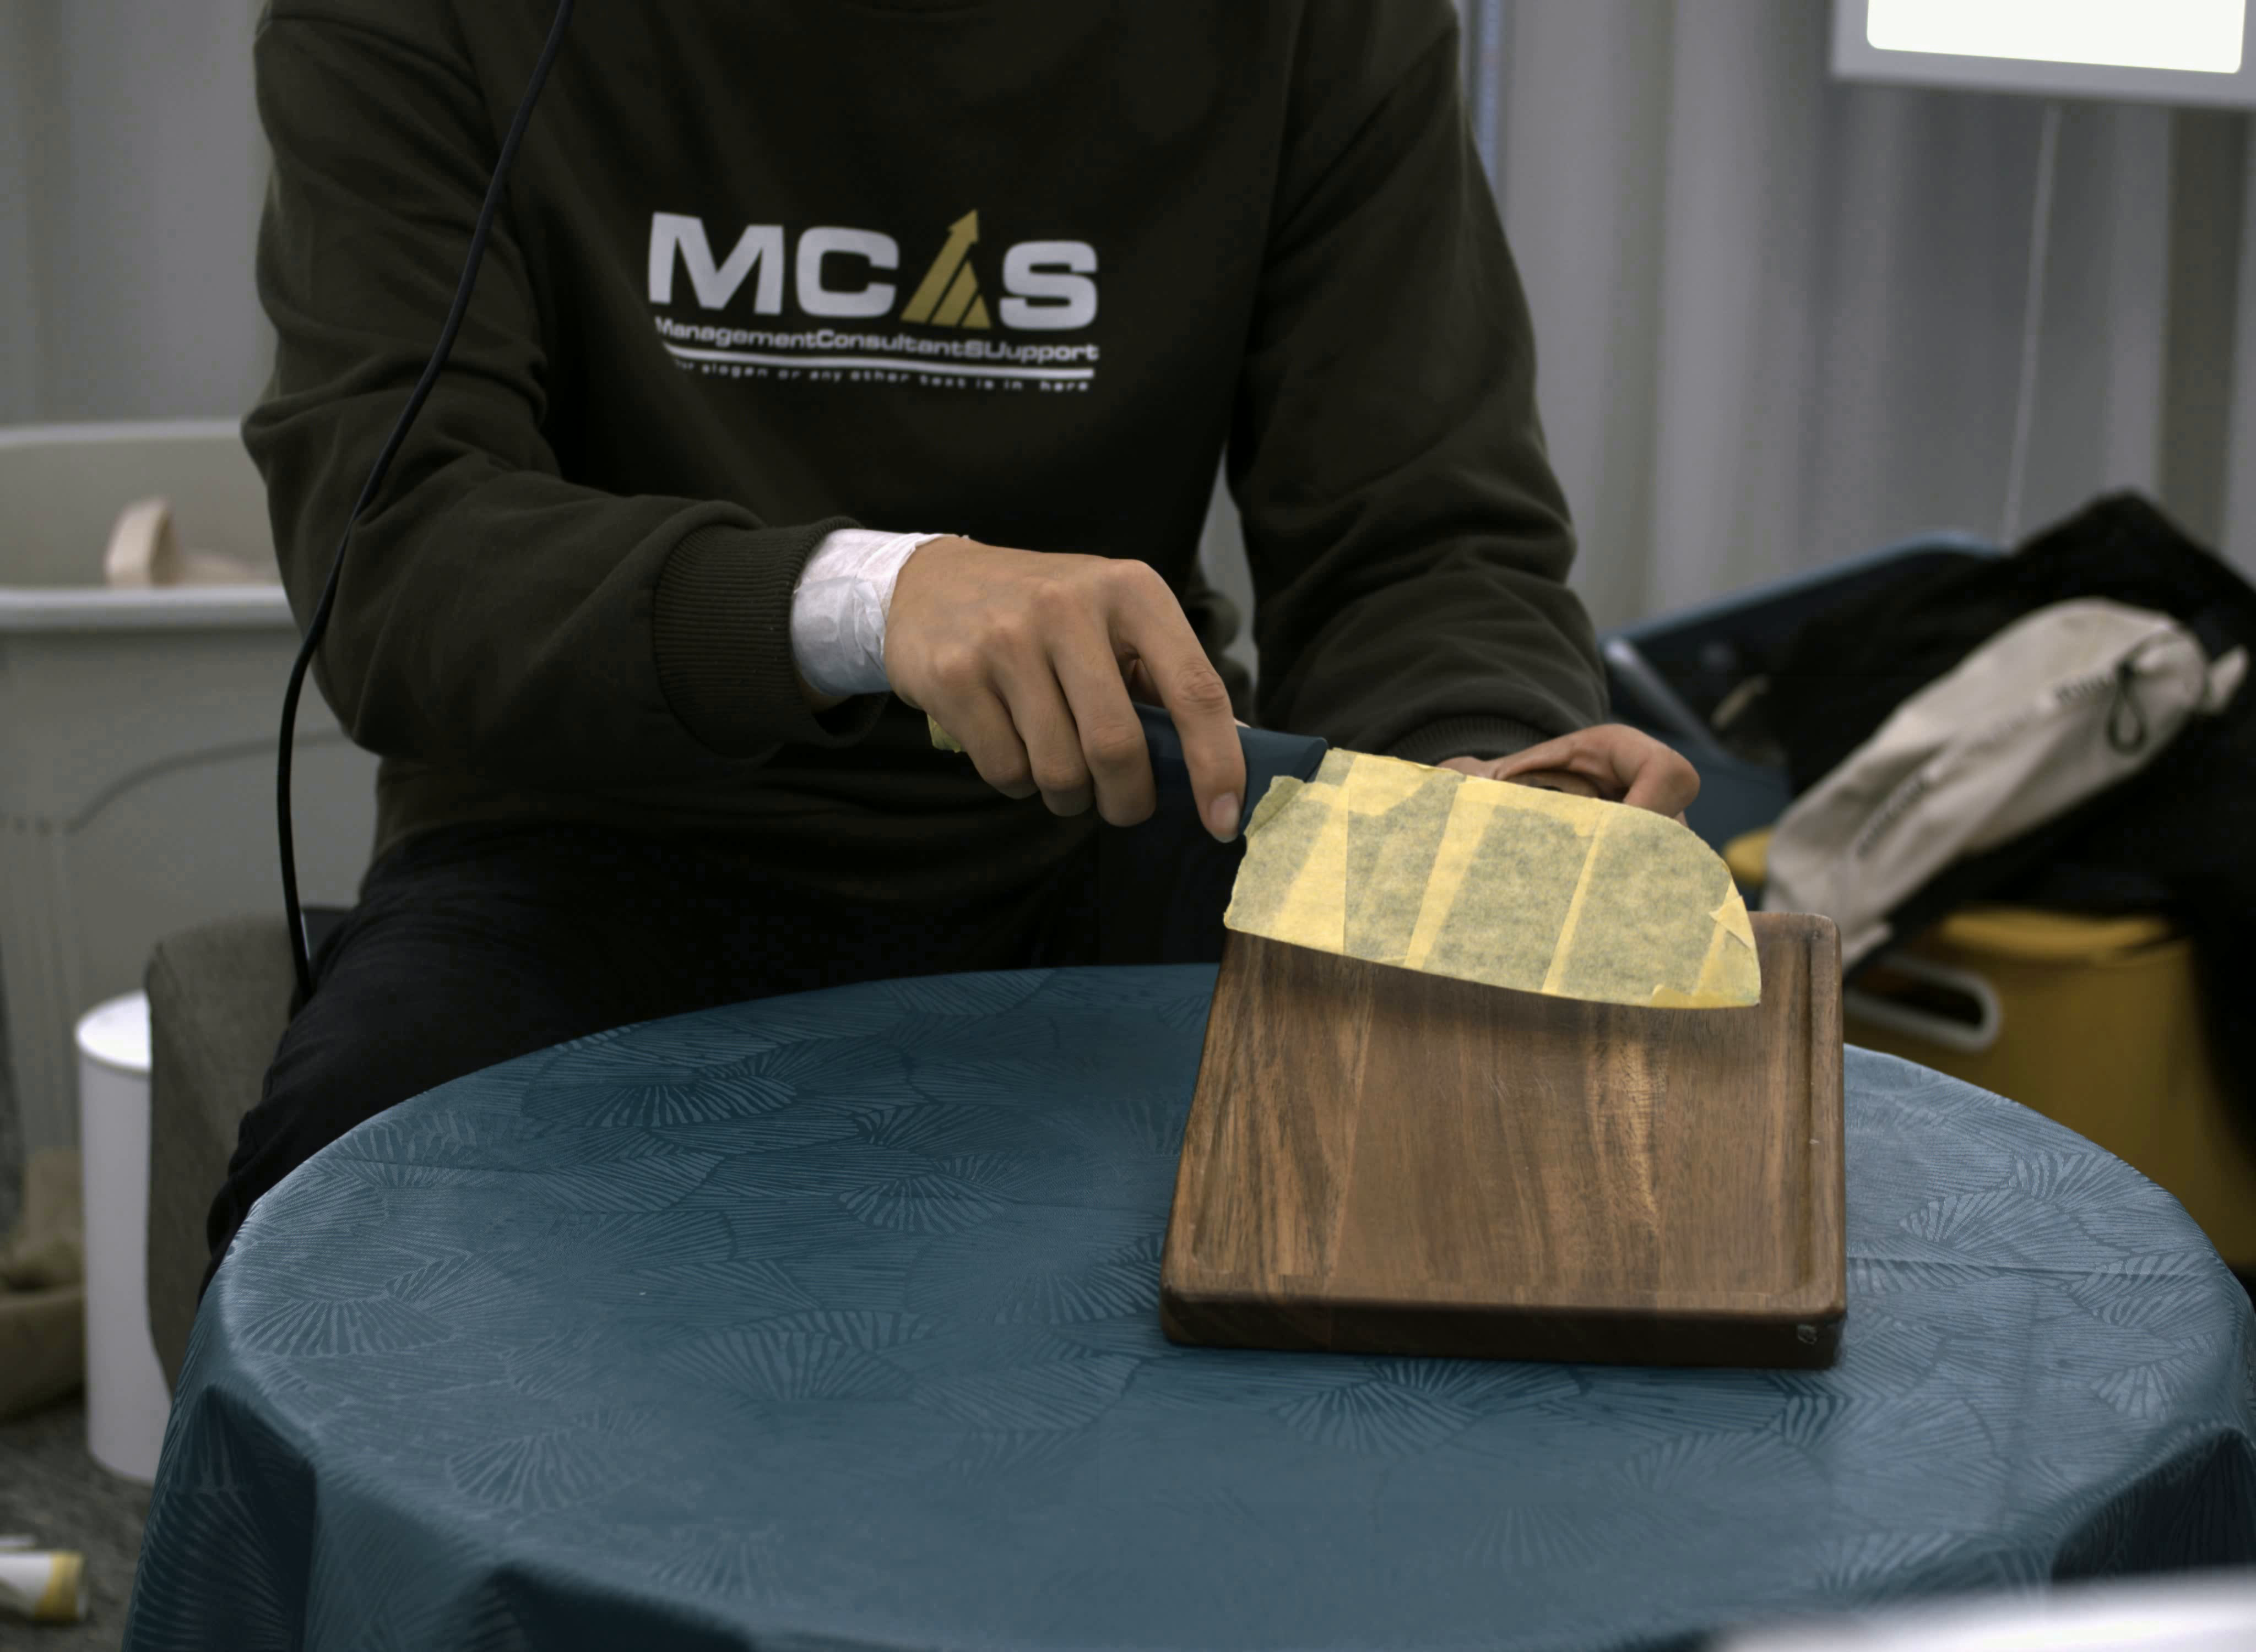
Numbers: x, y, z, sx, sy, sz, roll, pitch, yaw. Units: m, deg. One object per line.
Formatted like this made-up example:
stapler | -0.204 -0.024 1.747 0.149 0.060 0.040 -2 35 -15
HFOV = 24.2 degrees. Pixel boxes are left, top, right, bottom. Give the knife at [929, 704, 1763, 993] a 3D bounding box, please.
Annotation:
knife | 0.064 0.006 1.665 0.286 0.027 0.081 13 60 20

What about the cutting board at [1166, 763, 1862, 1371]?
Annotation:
cutting board | 0.124 0.065 1.635 0.200 0.023 0.350 2 27 5
